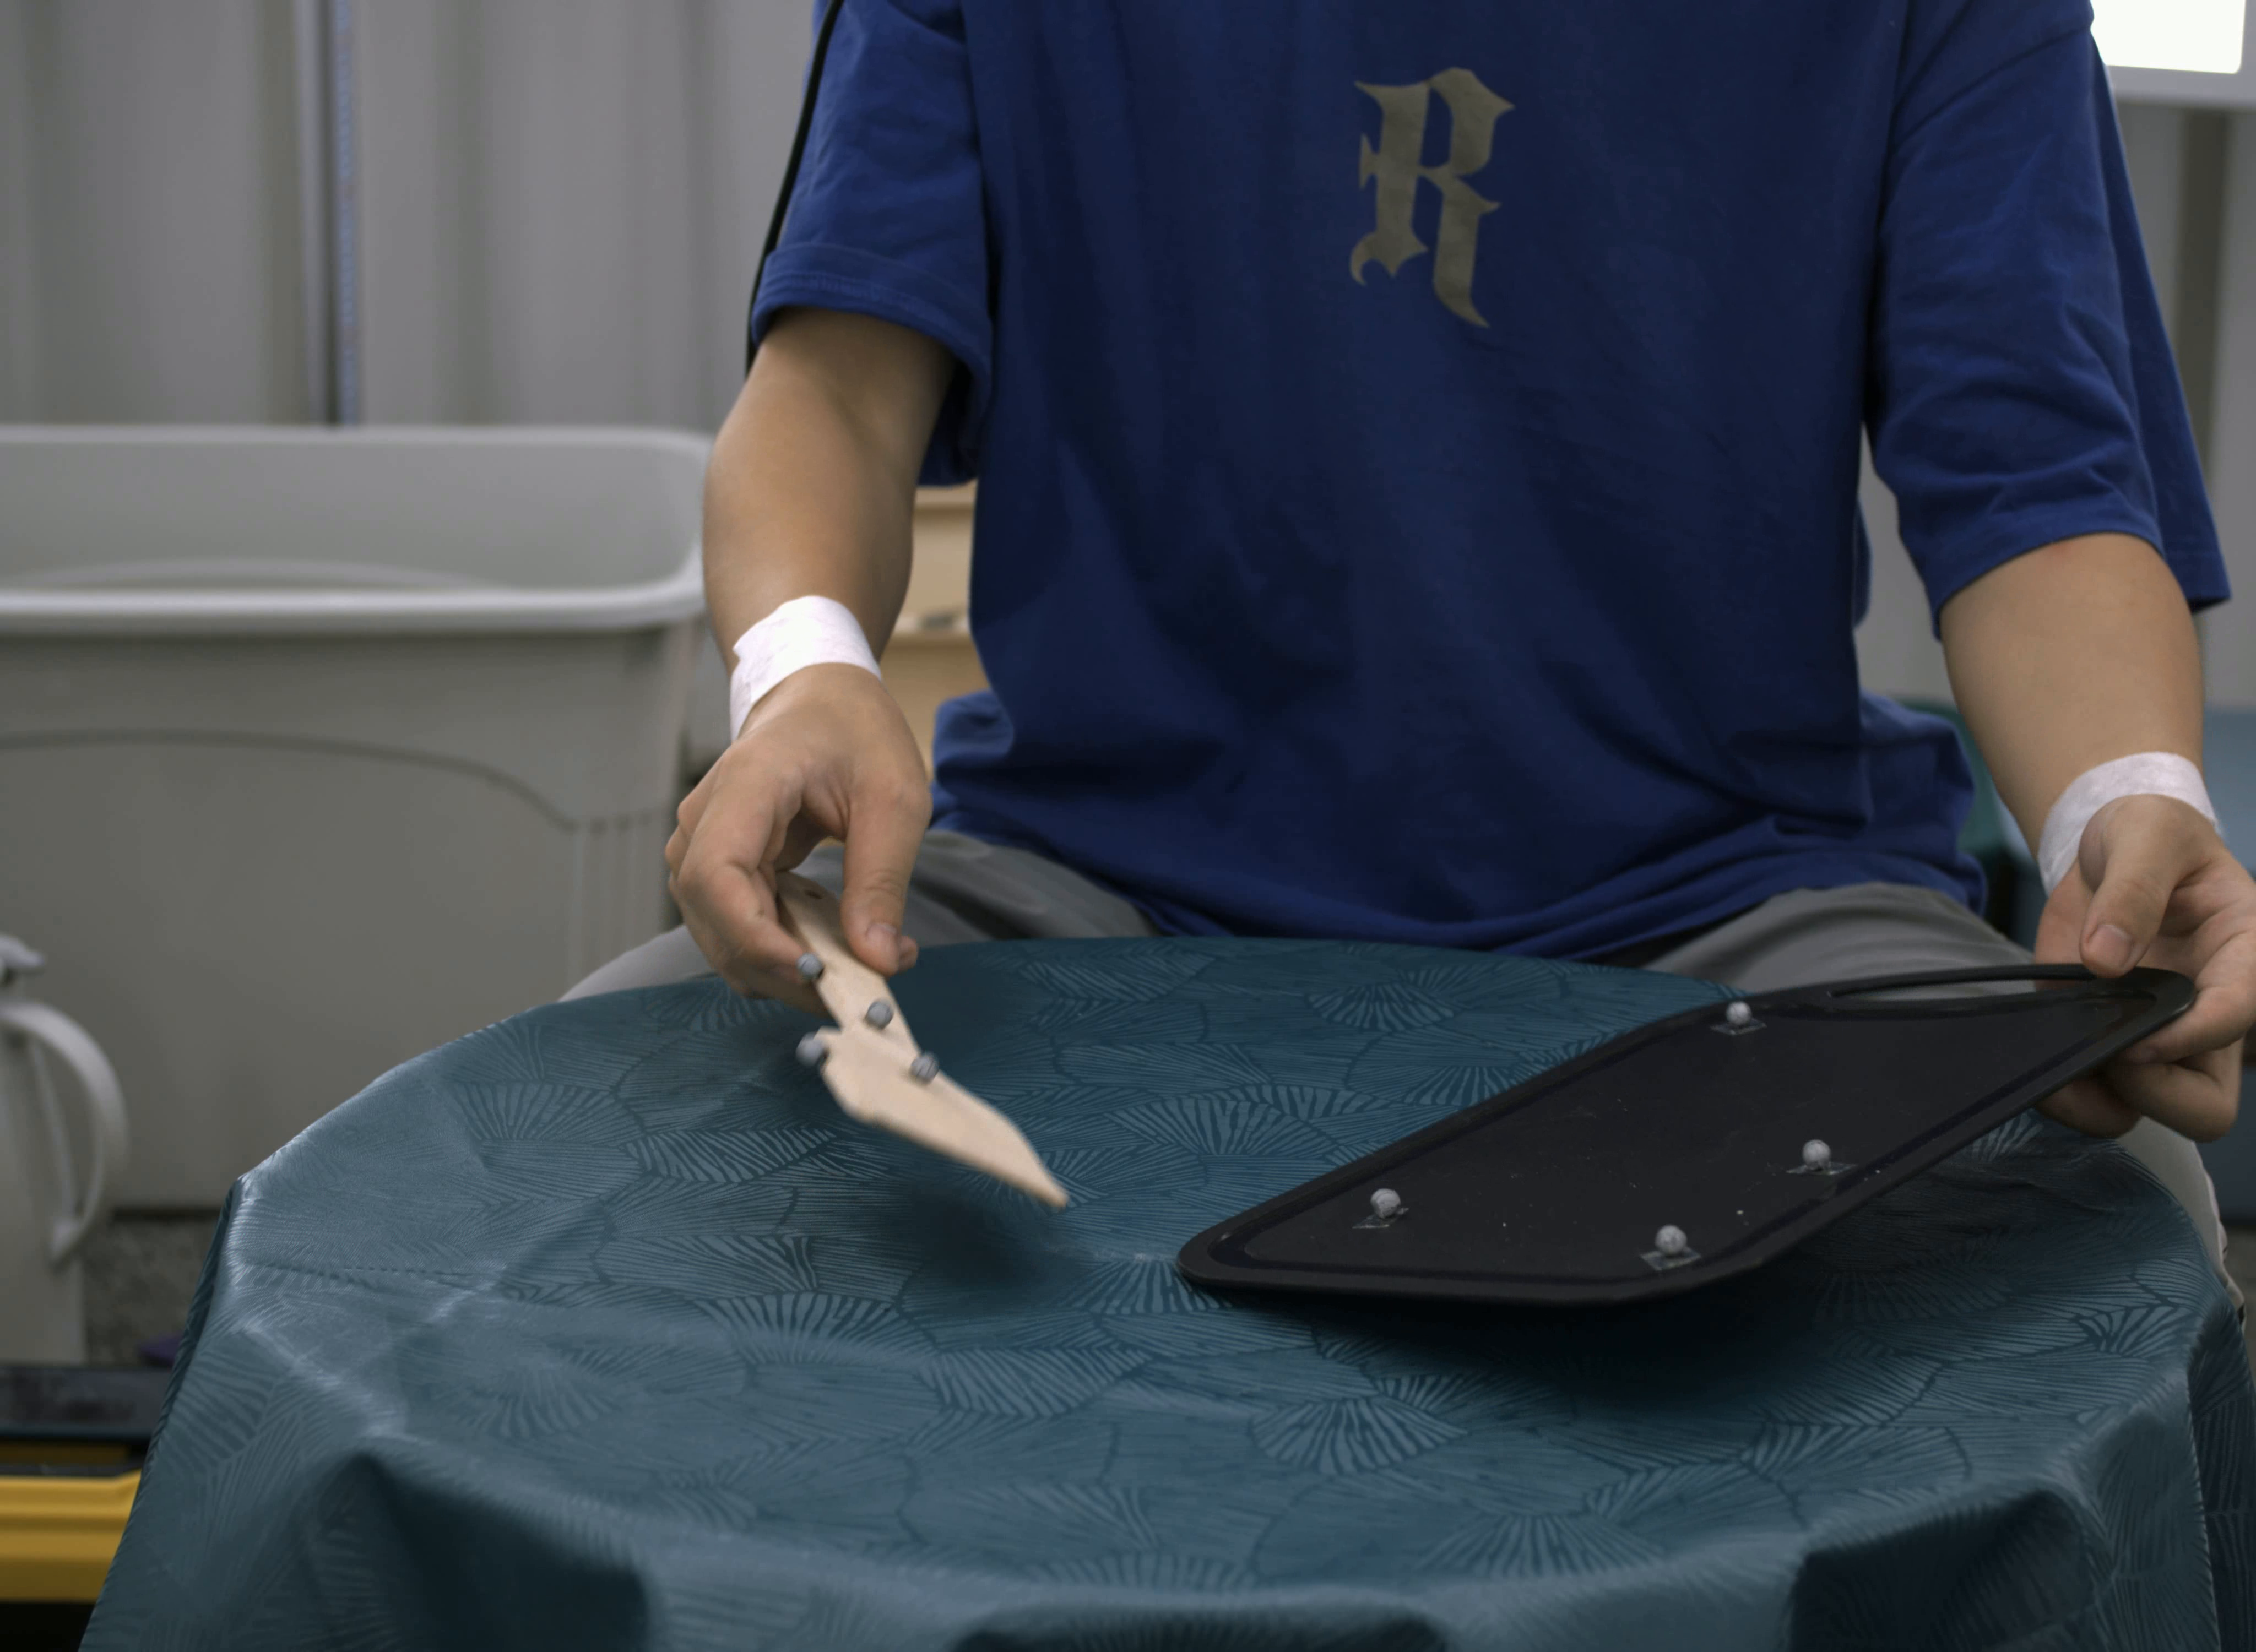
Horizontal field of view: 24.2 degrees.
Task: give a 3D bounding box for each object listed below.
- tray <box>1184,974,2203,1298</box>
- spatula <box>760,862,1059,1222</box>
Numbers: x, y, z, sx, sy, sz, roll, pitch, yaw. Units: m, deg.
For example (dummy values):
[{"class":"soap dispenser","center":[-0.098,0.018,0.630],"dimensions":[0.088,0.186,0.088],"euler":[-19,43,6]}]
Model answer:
[{"class":"tray","center":[0.179,0.088,1.600],"dimensions":[0.209,0.010,0.326],"euler":[-2,13,43]},{"class":"spatula","center":[-0.083,0.060,1.660],"dimensions":[0.073,0.011,0.290],"euler":[25,10,-20]}]
